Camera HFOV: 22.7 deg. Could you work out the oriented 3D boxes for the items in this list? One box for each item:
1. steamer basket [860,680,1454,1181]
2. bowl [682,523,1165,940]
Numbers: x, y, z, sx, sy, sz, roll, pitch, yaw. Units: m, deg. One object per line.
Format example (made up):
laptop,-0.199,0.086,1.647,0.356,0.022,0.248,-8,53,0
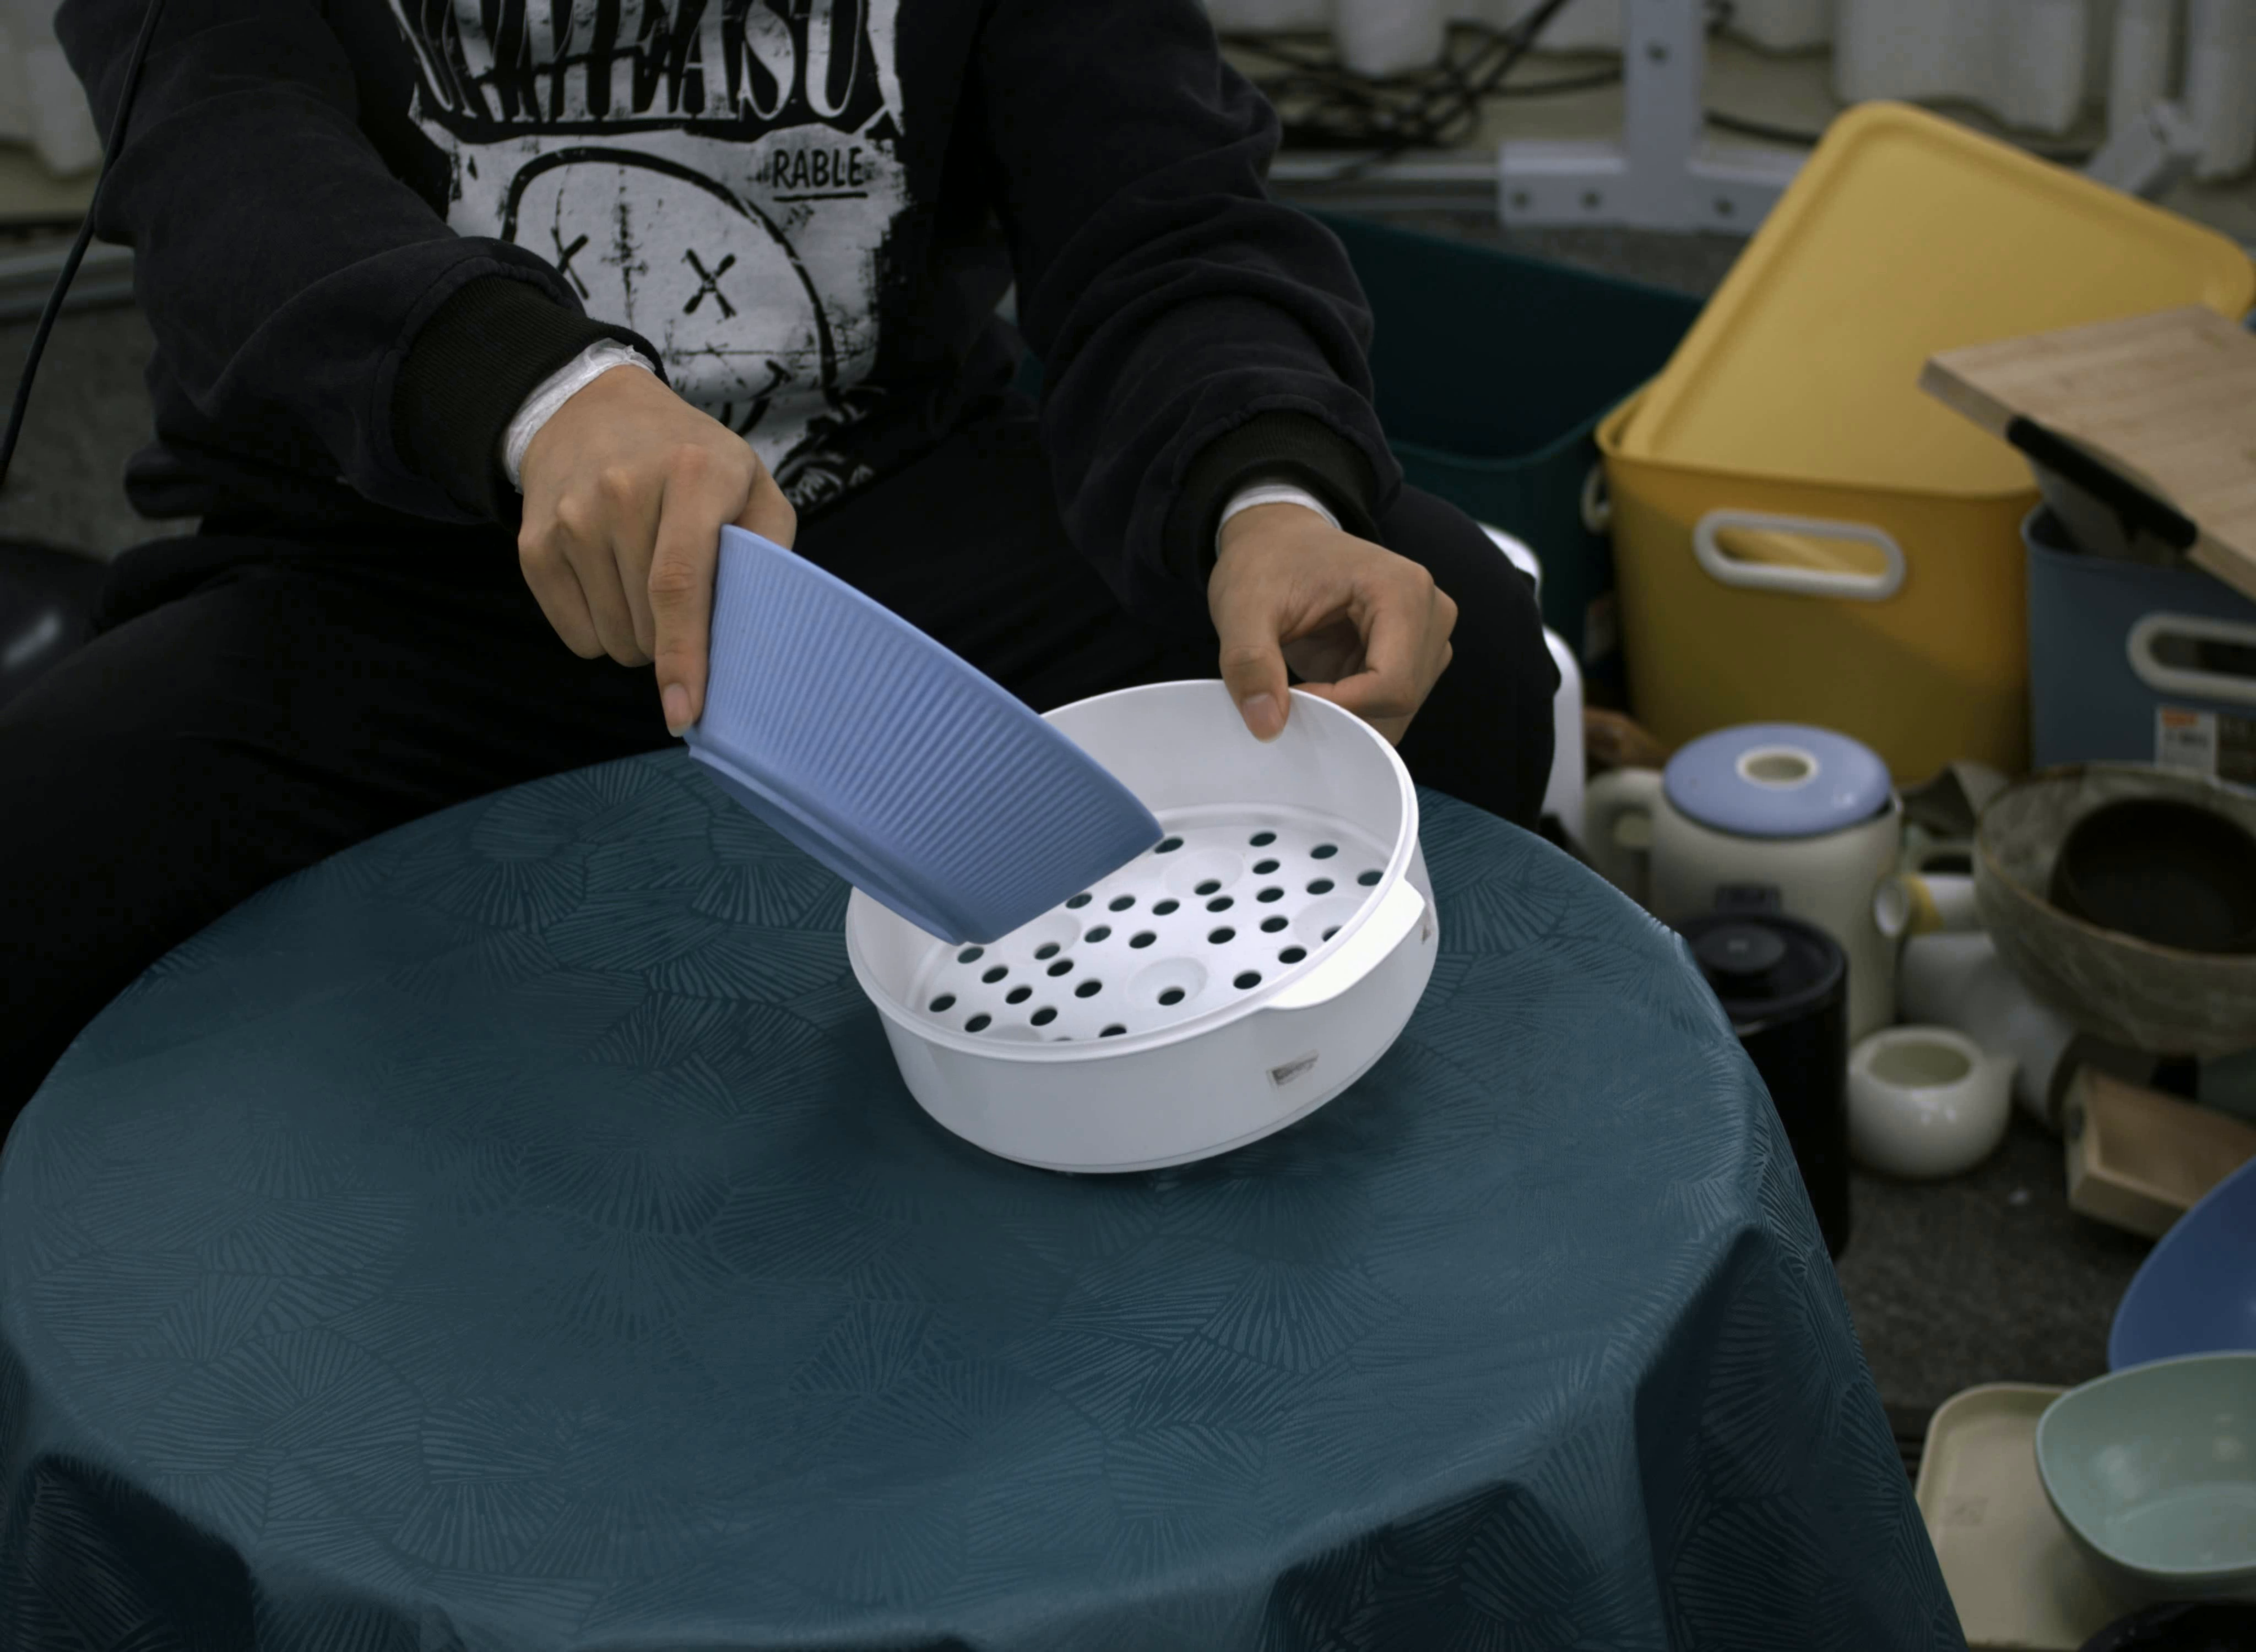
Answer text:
steamer basket,0.012,0.036,1.915,0.230,0.068,0.205,21,49,38
bowl,-0.078,-0.021,1.811,0.176,0.175,0.071,28,80,45
